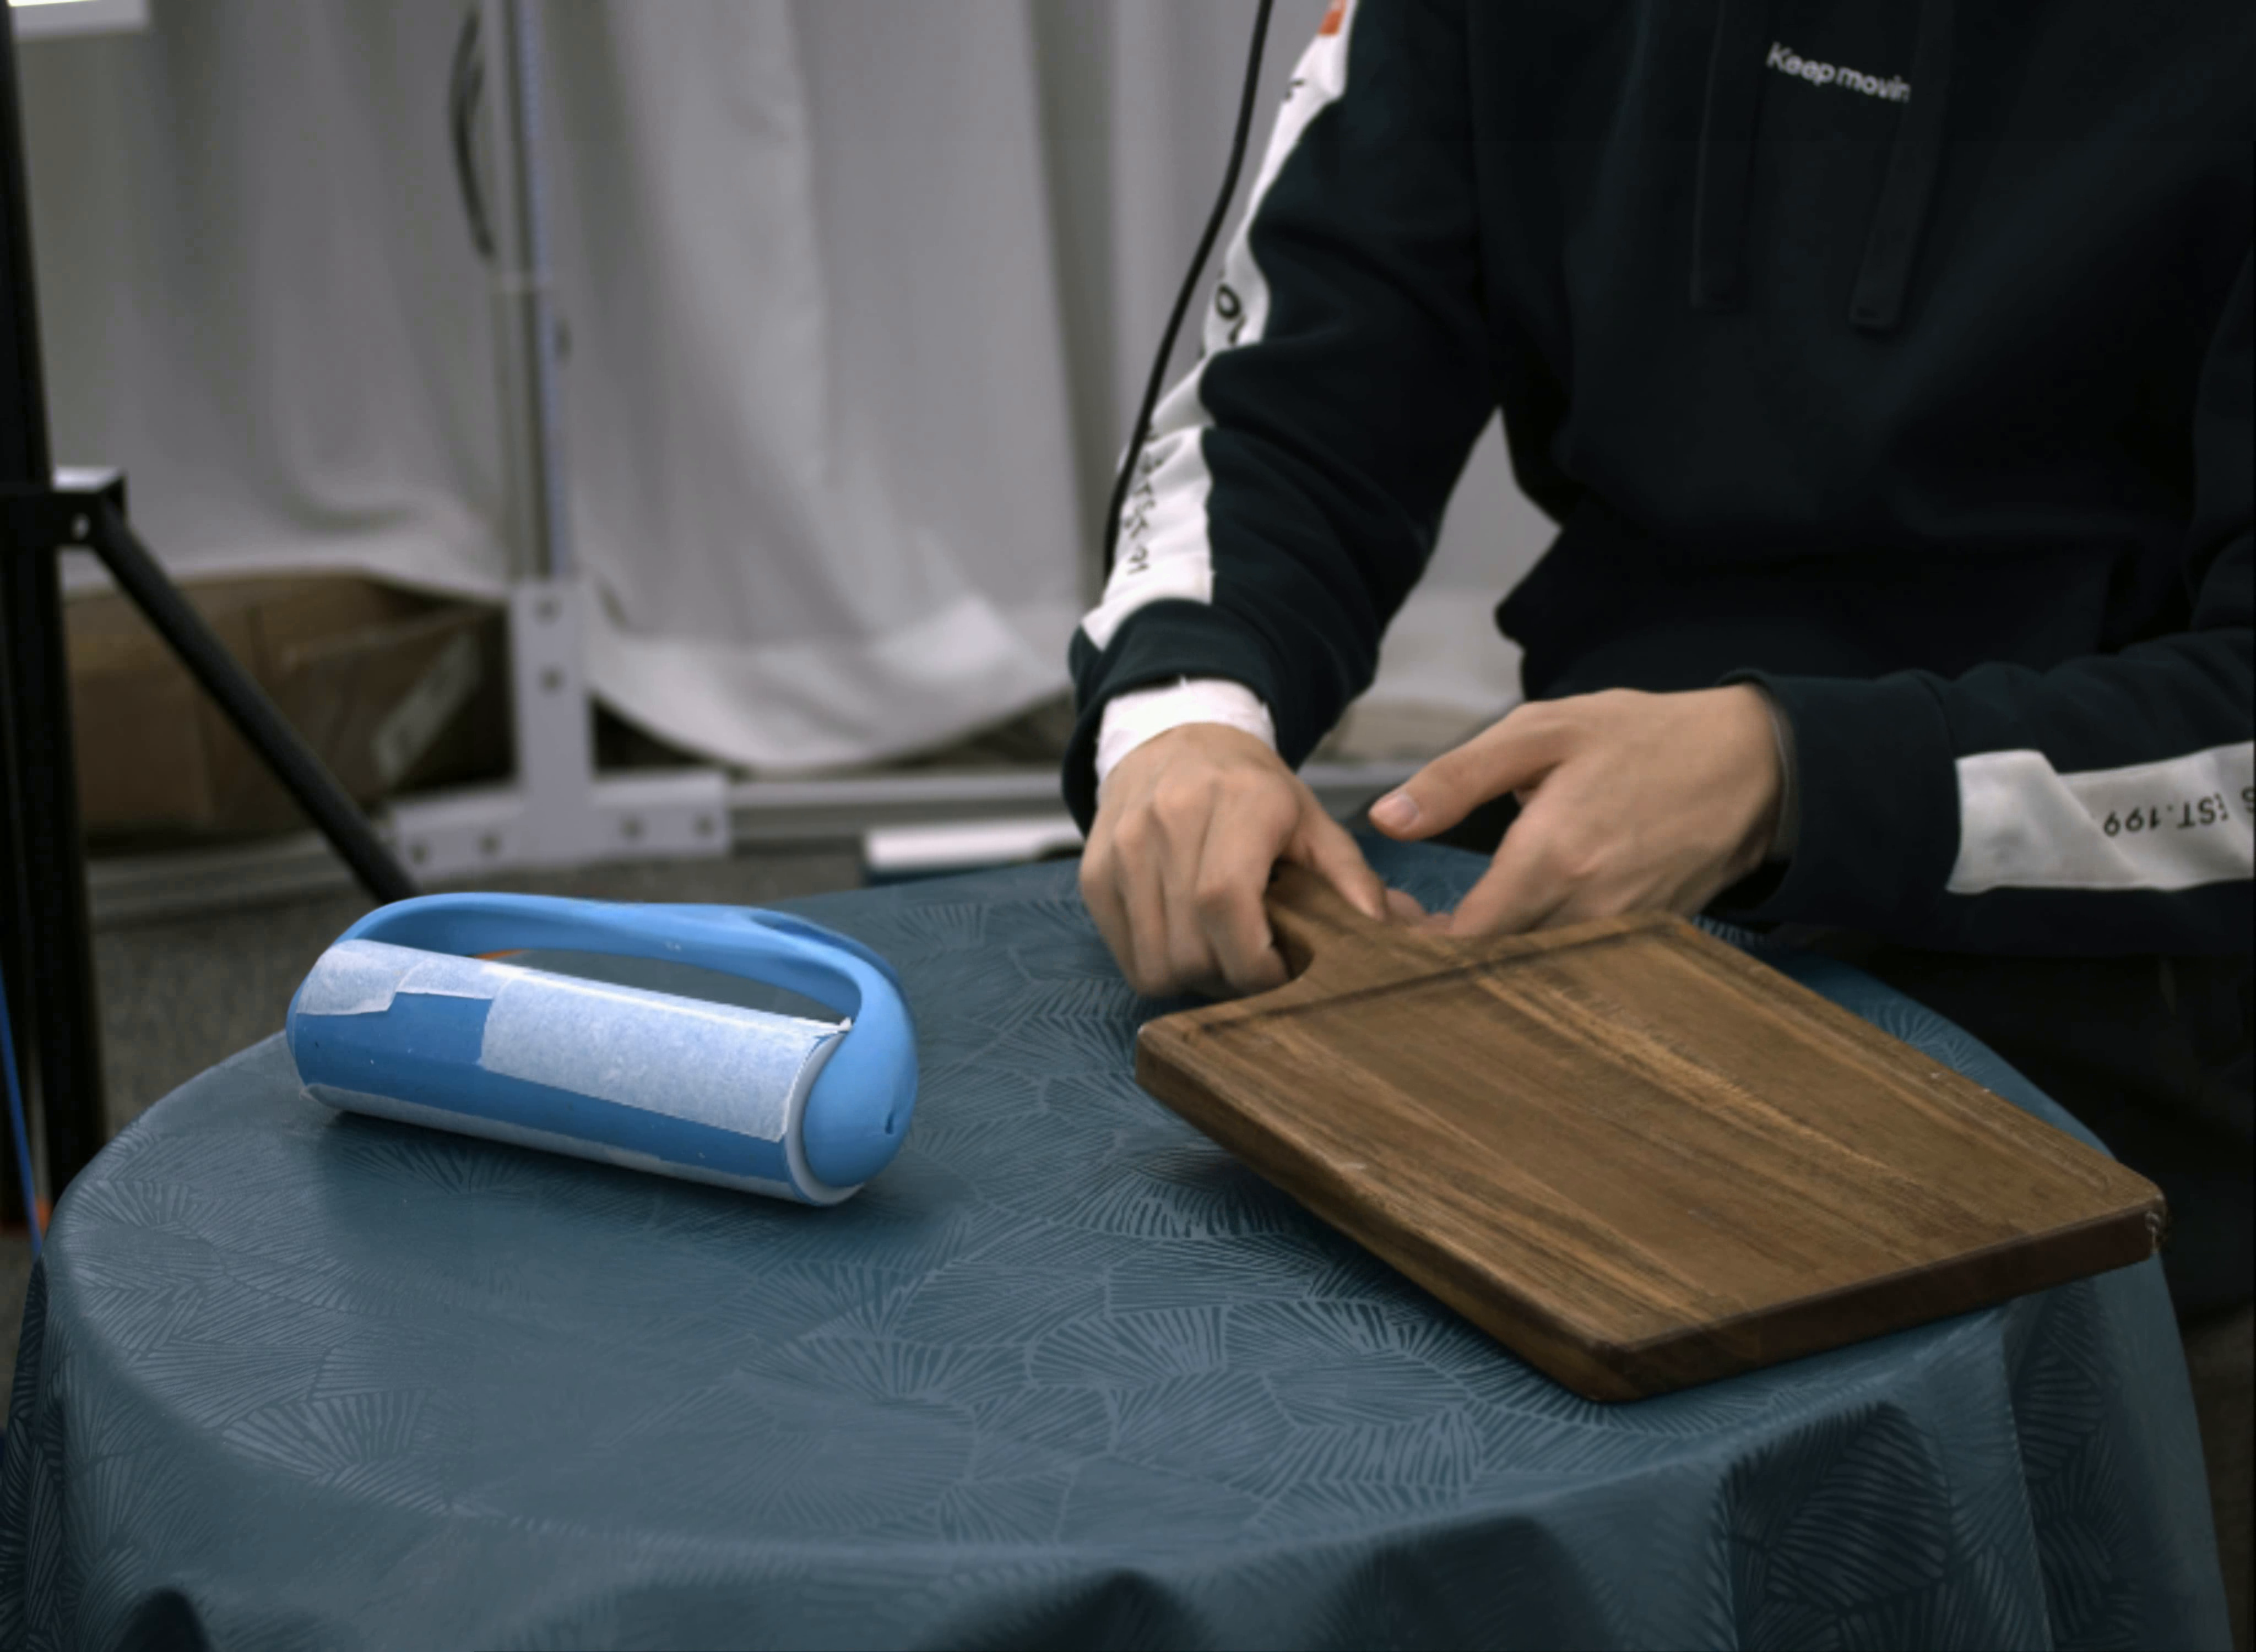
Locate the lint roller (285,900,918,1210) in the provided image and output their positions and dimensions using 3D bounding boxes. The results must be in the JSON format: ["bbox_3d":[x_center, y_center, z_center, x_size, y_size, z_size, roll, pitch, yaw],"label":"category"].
[{"bbox_3d":[-0.132,0.057,1.655,0.233,0.068,0.177,6,19,33],"label":"lint roller"}]

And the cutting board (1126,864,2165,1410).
[{"bbox_3d":[0.120,0.075,1.556,0.196,0.023,0.360,-11,23,-28],"label":"cutting board"}]
